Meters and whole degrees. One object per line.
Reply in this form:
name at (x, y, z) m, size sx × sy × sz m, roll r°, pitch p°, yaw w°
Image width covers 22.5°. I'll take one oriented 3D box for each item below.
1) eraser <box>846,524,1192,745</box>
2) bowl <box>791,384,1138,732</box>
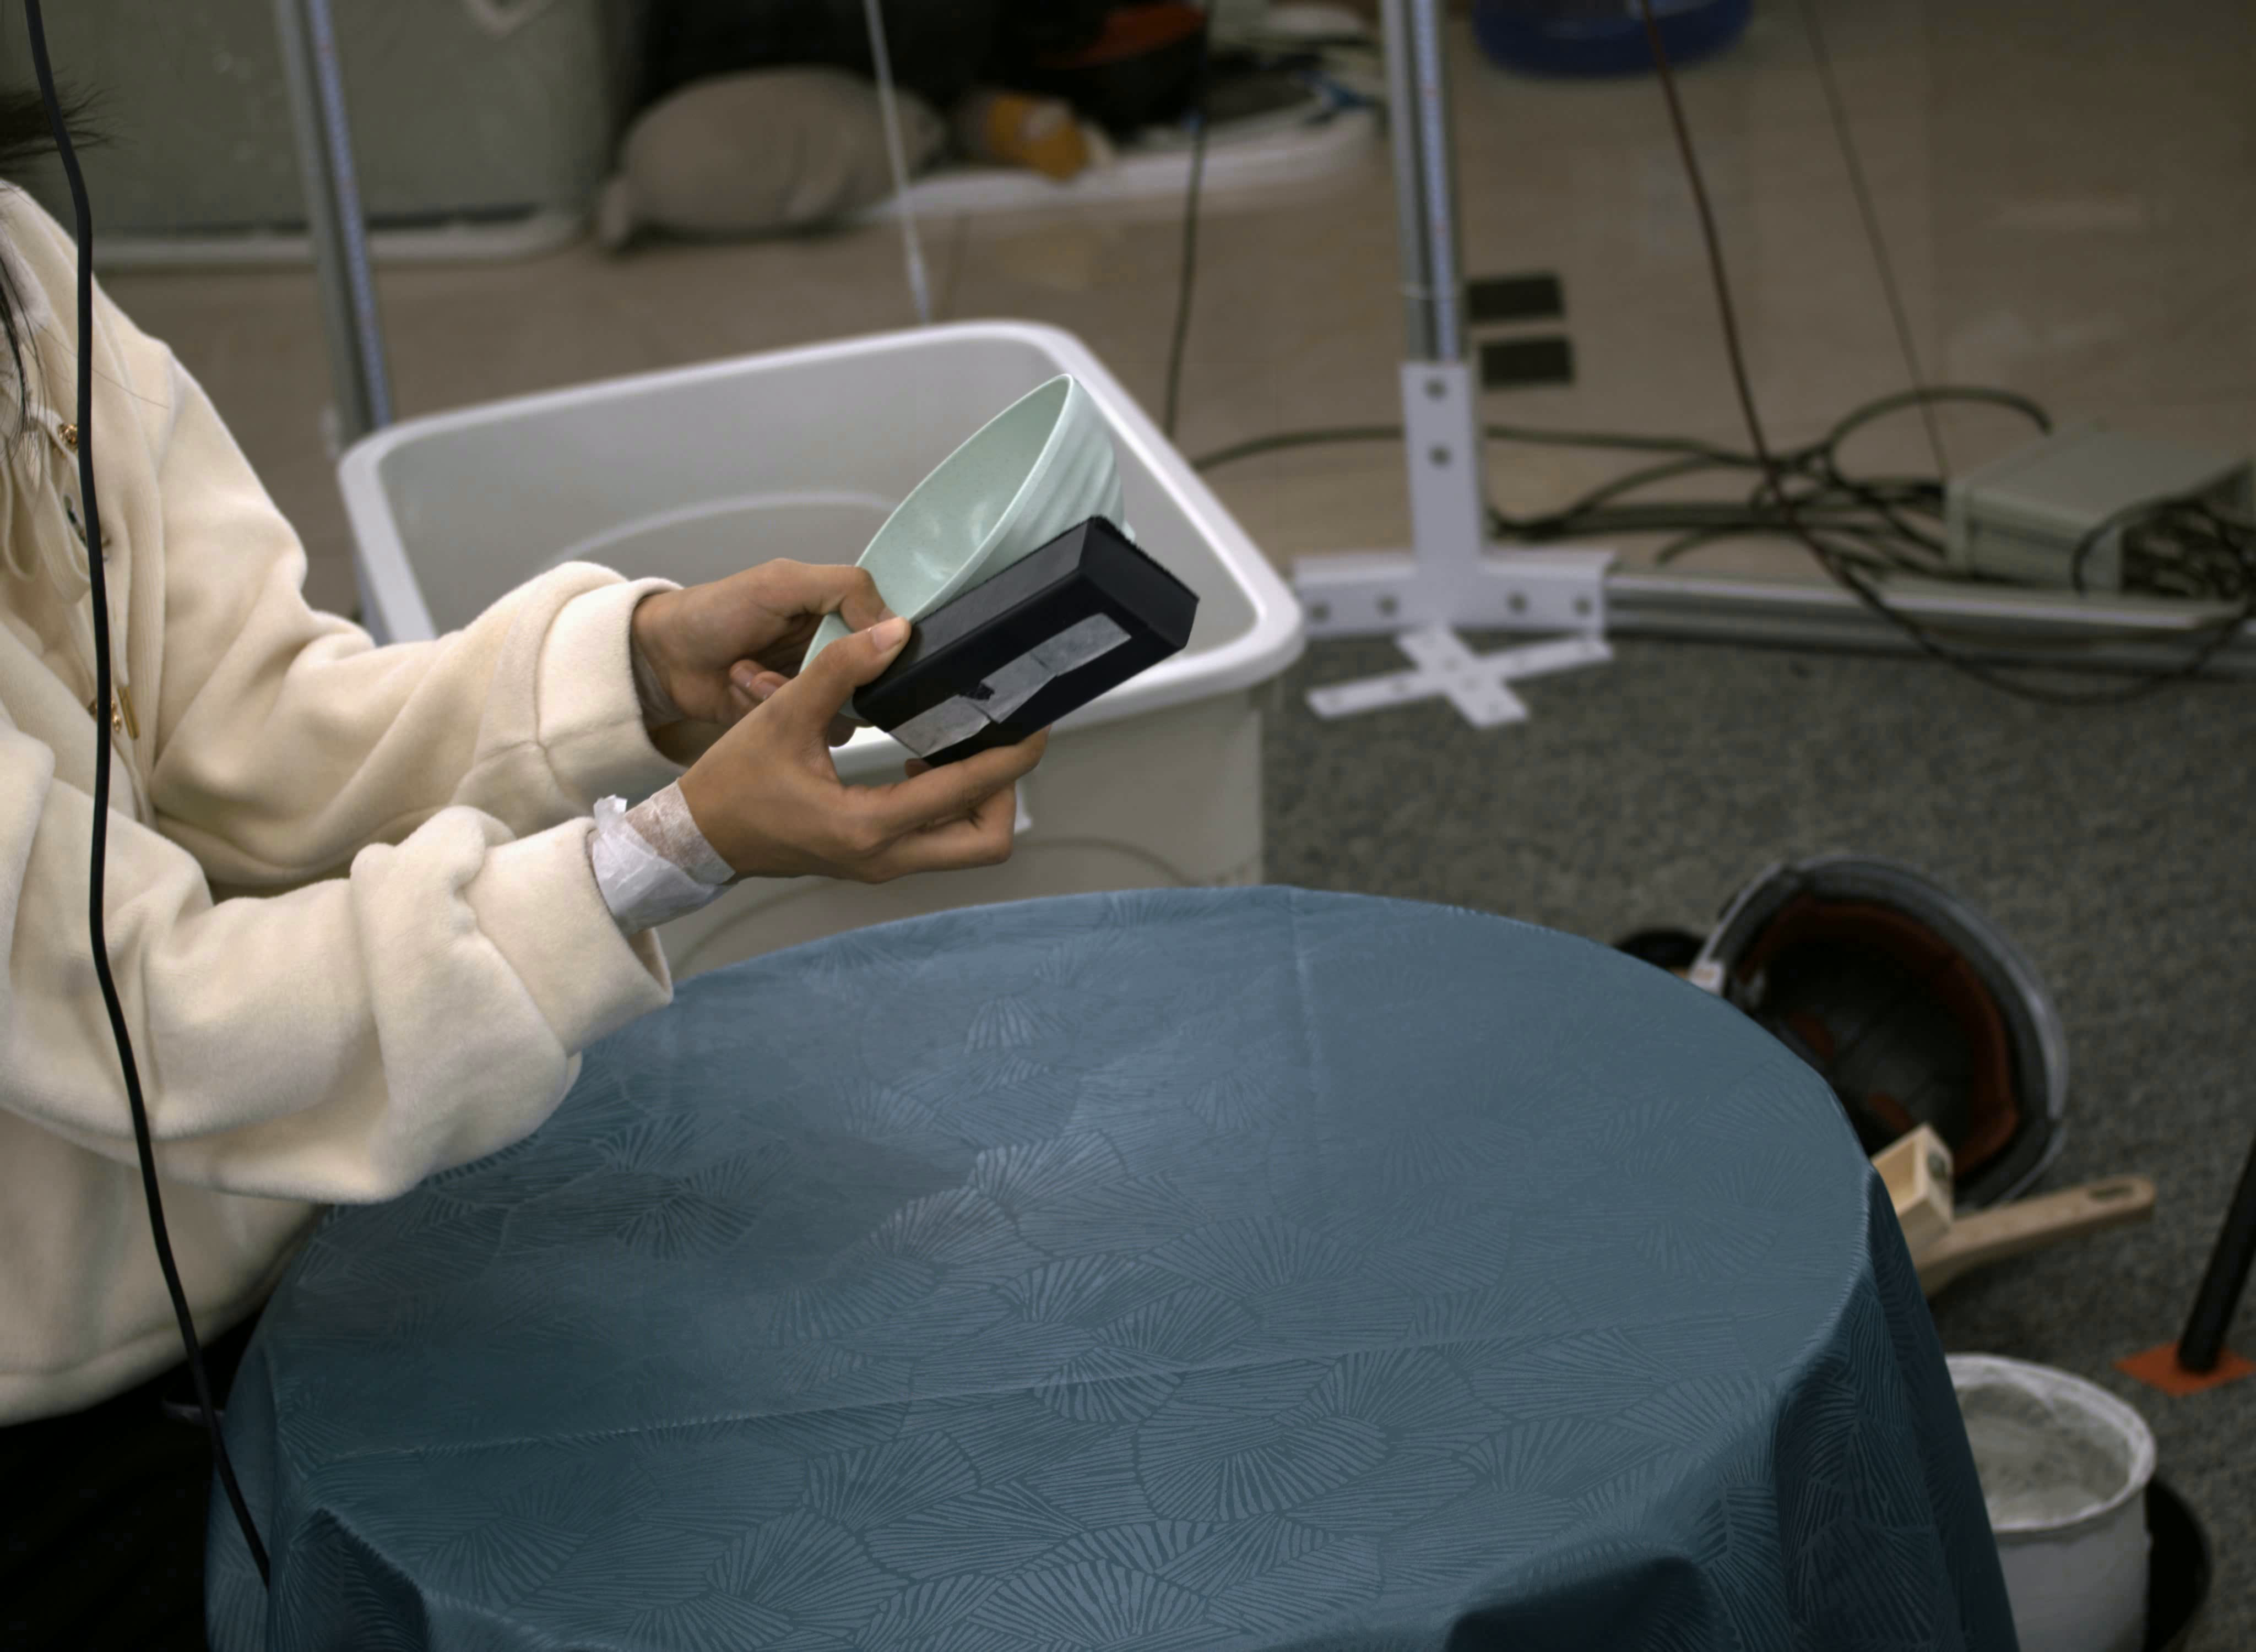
eraser at (-0.038, -0.066, 1.960) m, size 0.126 × 0.054 × 0.030 m, roll -21°, pitch 50°, yaw 44°
bowl at (-0.050, -0.087, 2.048) m, size 0.152 × 0.059 × 0.149 m, roll -43°, pitch 15°, yaw 15°
